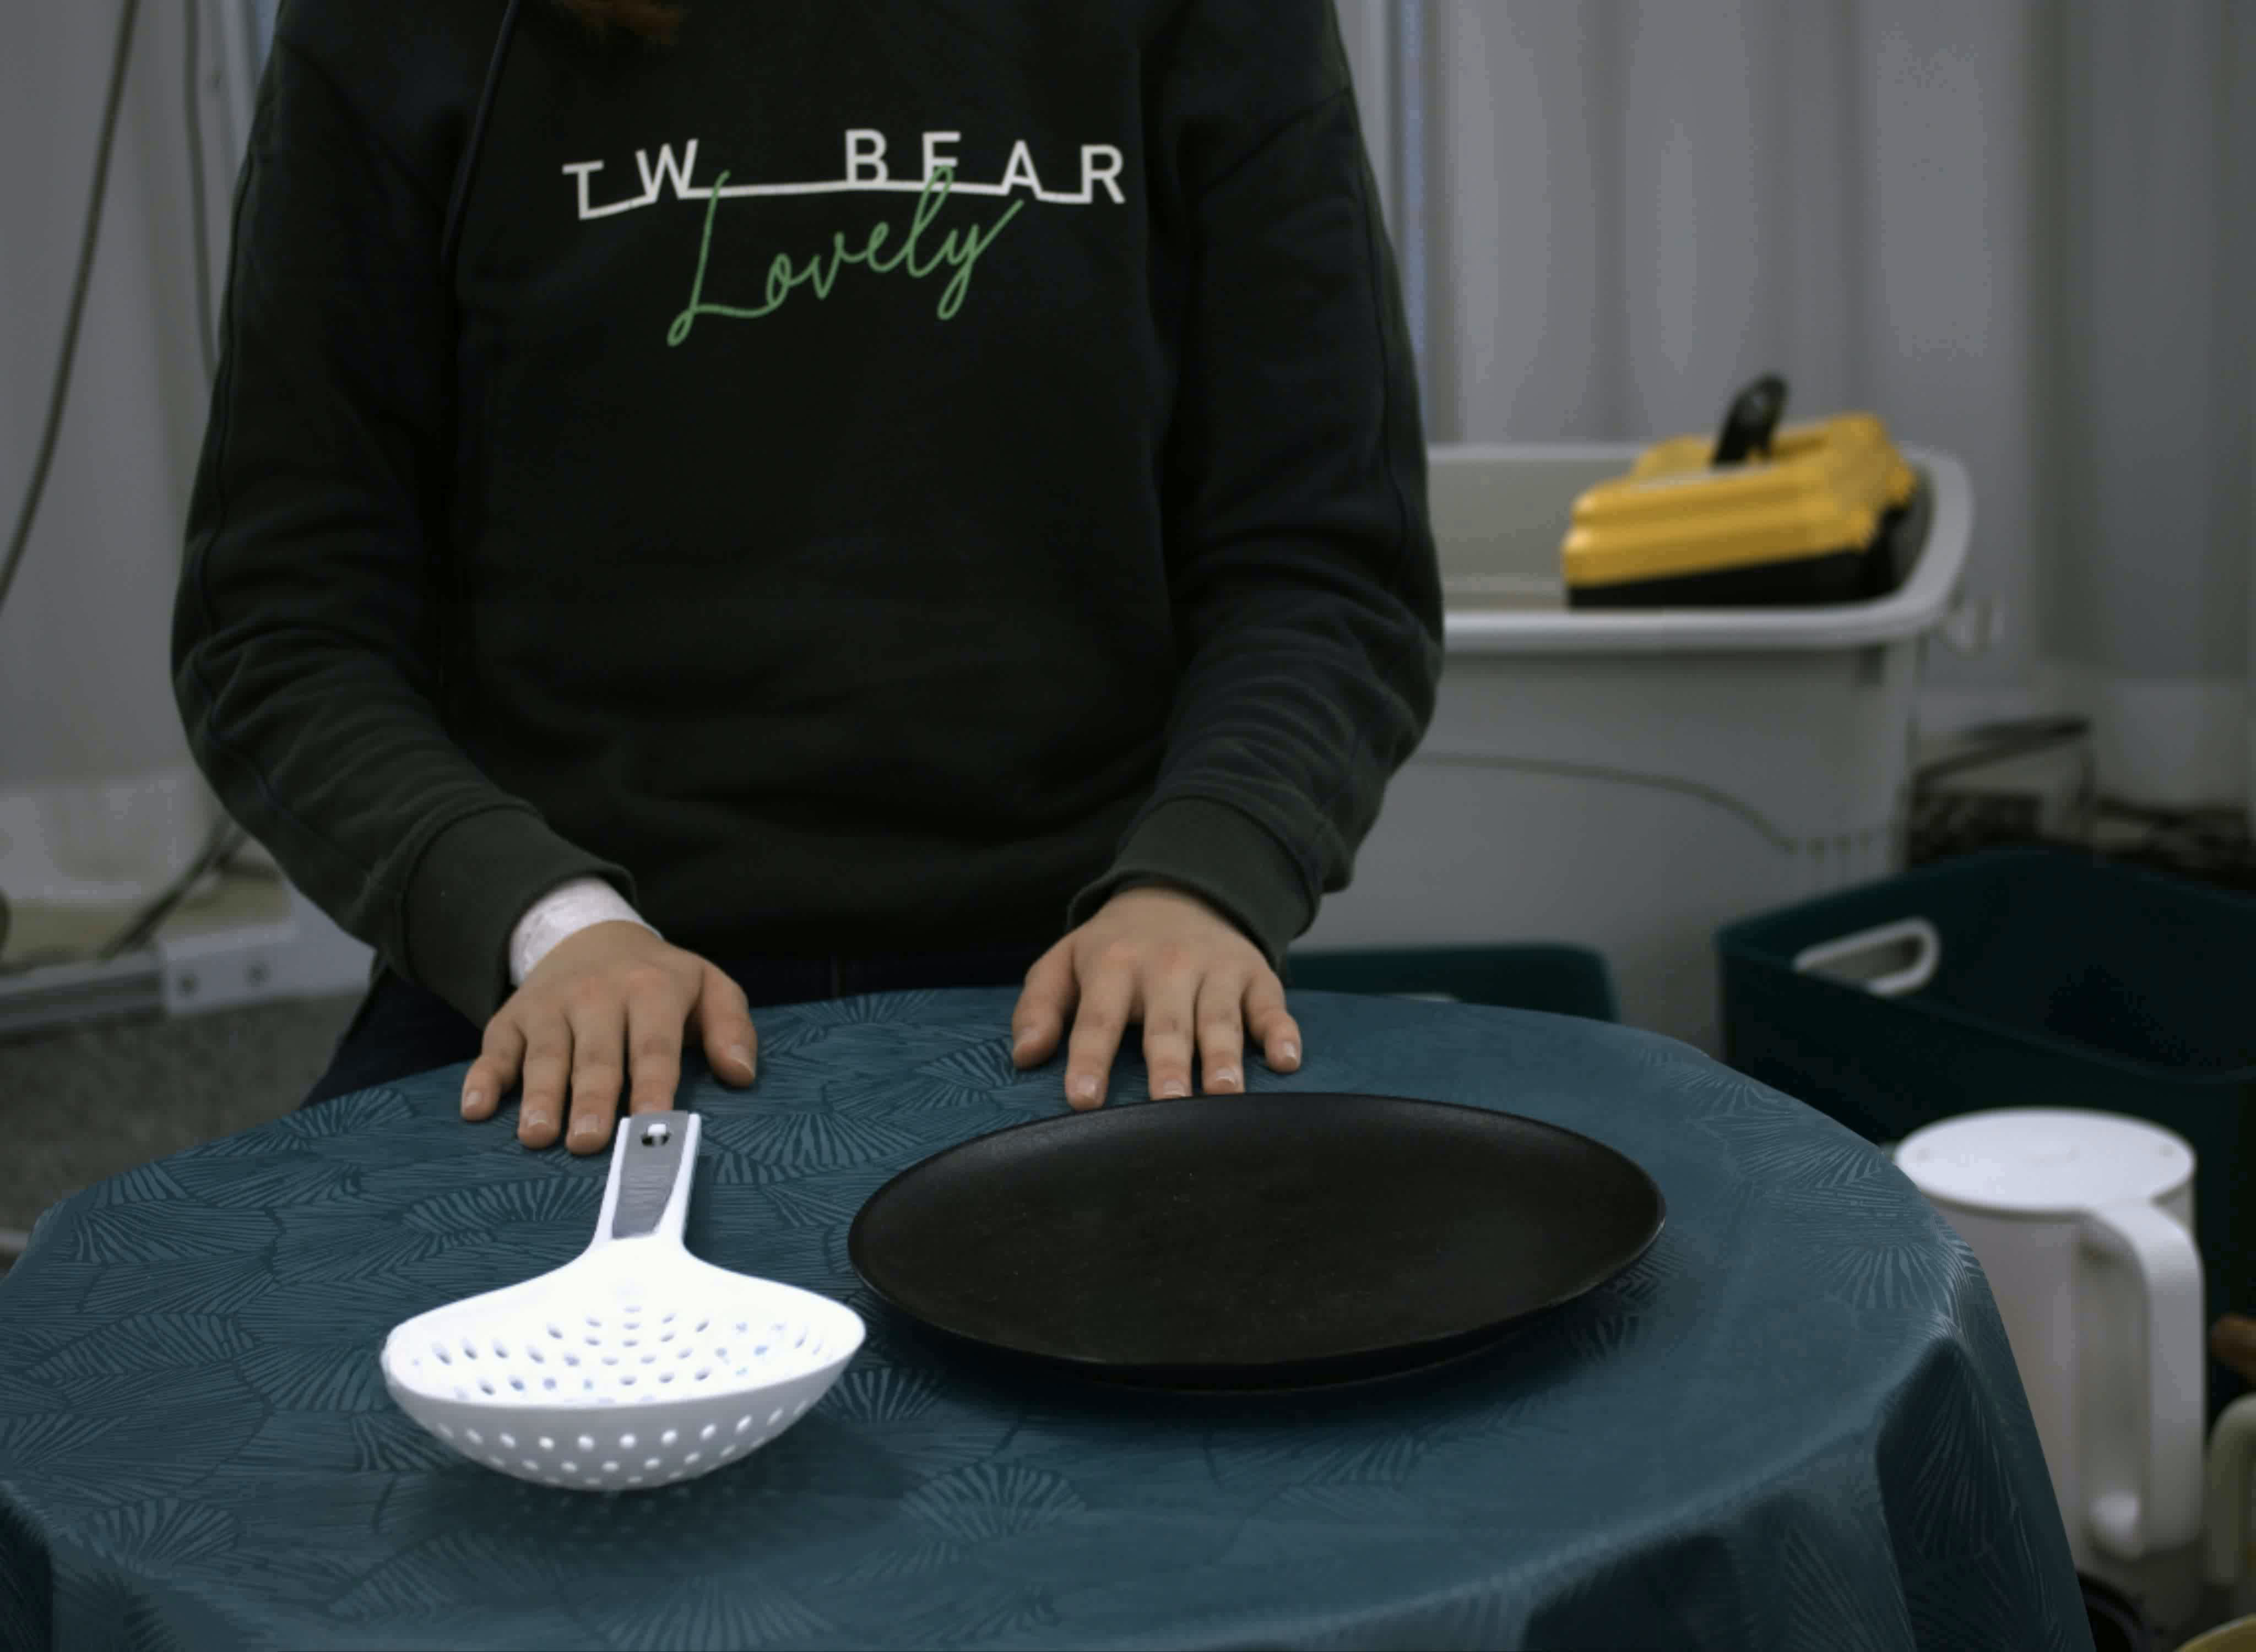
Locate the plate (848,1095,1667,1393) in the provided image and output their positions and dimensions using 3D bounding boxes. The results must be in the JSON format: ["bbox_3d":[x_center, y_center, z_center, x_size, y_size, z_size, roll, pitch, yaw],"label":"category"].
[{"bbox_3d":[0.038,0.126,1.620,0.243,0.023,0.246,-3,15,0],"label":"plate"}]

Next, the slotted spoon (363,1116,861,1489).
[{"bbox_3d":[-0.144,0.130,1.598,0.135,0.045,0.352,-1,14,-2],"label":"slotted spoon"}]
